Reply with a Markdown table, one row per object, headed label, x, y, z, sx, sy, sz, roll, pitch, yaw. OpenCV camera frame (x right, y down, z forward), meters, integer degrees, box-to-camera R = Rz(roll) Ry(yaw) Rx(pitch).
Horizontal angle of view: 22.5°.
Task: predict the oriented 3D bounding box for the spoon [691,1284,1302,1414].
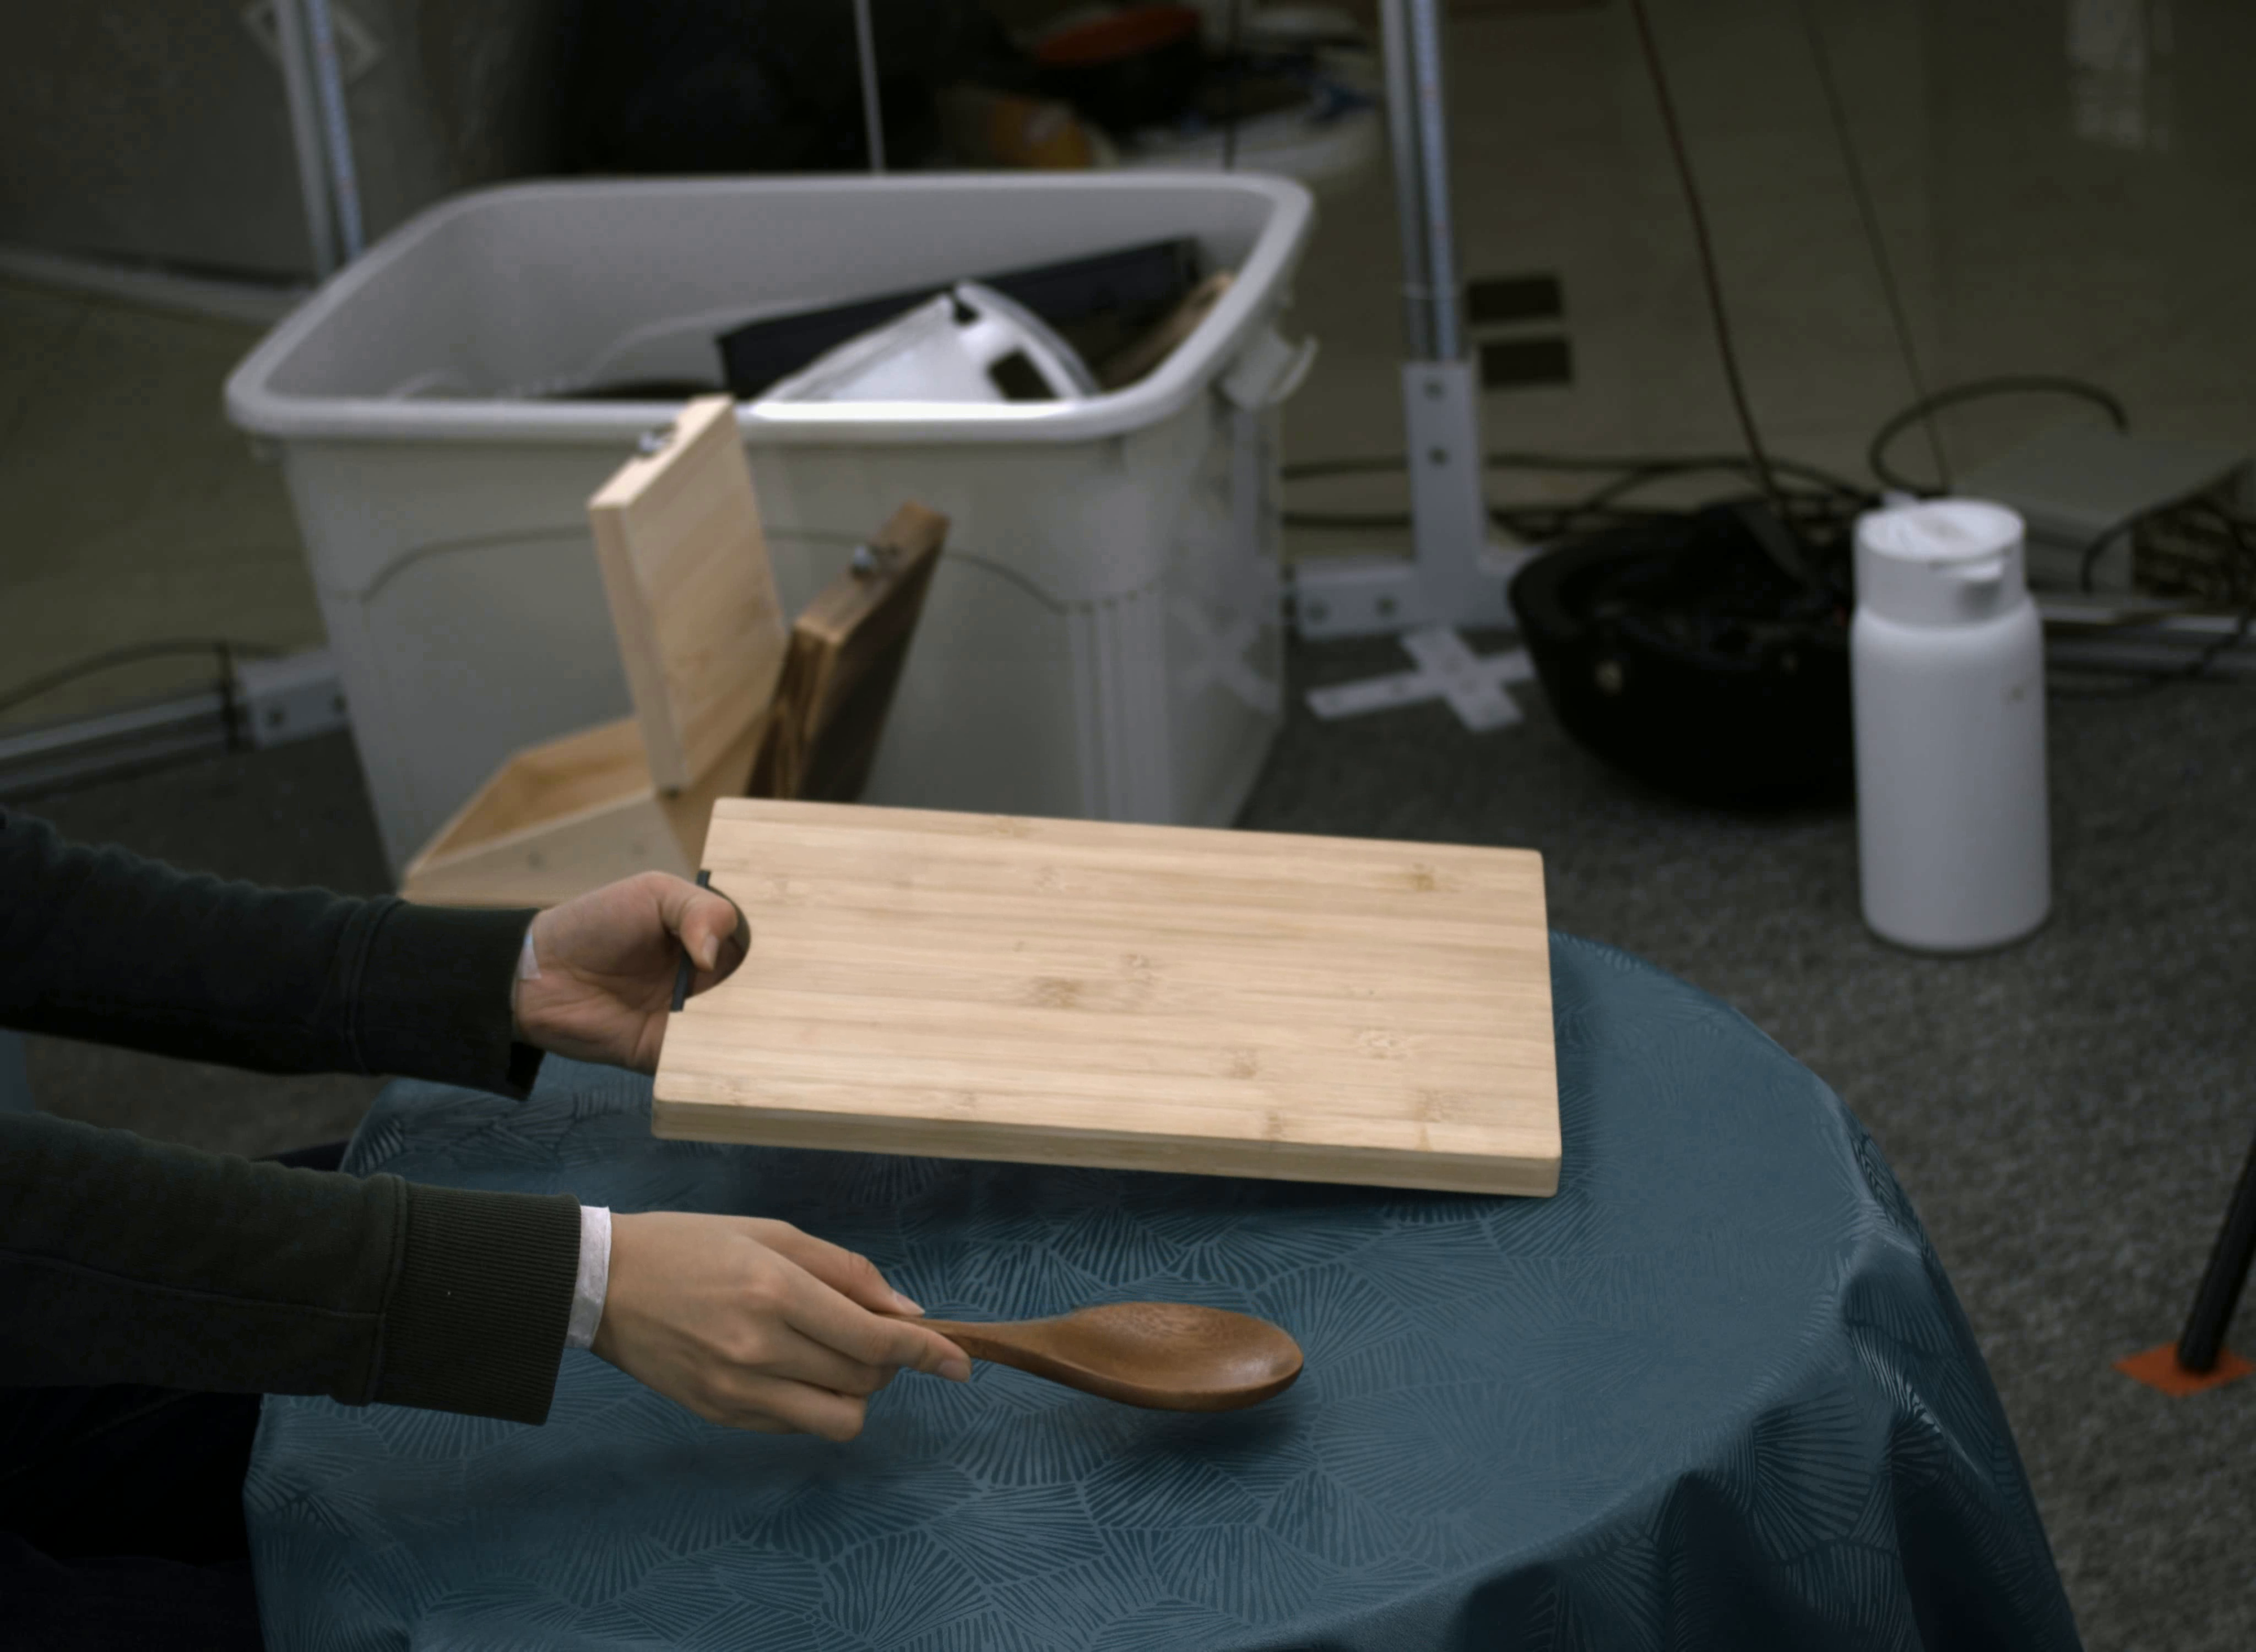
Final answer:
| label | x | y | z | sx | sy | sz | roll | pitch | yaw |
| --- | --- | --- | --- | --- | --- | --- | --- | --- | --- |
| spoon | -0.046 | 0.181 | 1.993 | 0.215 | 0.017 | 0.074 | 6 | 22 | 2 |

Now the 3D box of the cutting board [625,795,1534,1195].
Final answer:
| label | x | y | z | sx | sy | sz | roll | pitch | yaw |
| --- | --- | --- | --- | --- | --- | --- | --- | --- | --- |
| cutting board | -0.012 | 0.063 | 2.213 | 0.348 | 0.024 | 0.247 | 3 | 28 | -1 |
